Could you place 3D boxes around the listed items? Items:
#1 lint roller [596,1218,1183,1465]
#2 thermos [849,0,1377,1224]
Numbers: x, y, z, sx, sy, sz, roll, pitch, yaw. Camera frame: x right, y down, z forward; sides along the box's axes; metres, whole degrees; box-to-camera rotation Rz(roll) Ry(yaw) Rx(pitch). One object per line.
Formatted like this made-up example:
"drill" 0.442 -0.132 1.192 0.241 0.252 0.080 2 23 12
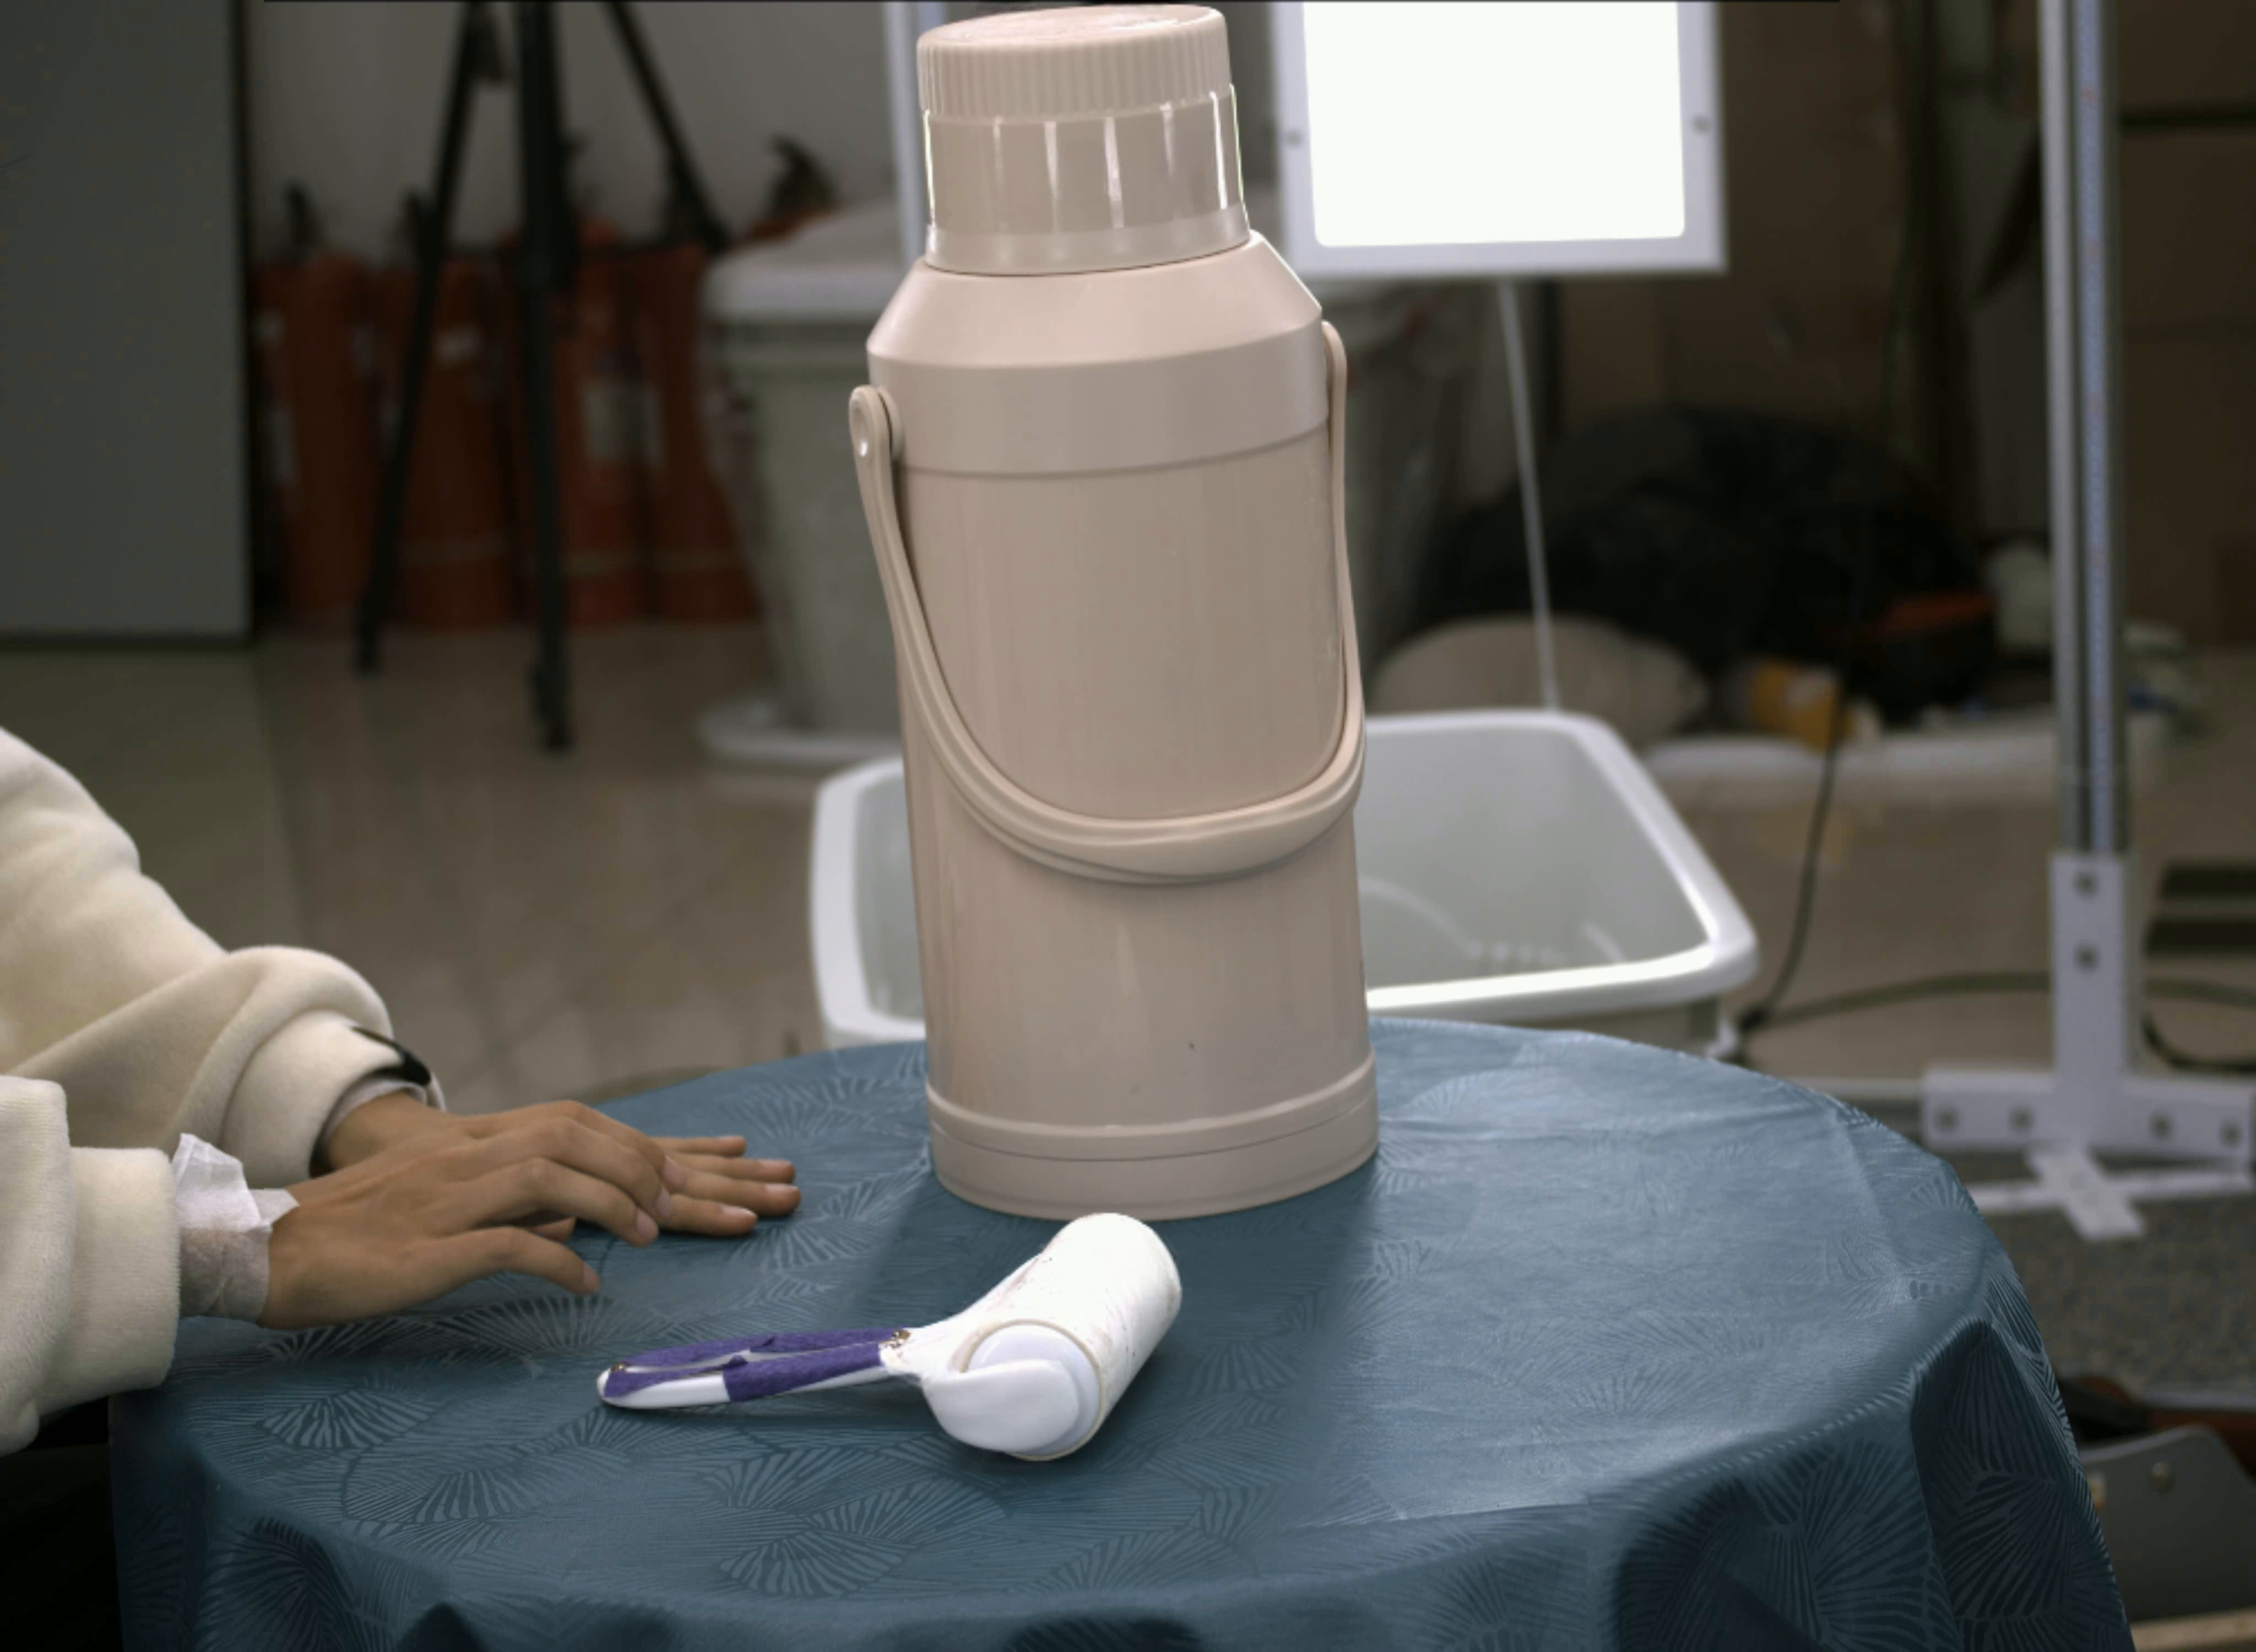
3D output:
"lint roller" -0.079 0.156 1.708 0.183 0.050 0.131 2 16 17
"thermos" -0.009 -0.078 1.903 0.172 0.408 0.210 -10 15 -20
